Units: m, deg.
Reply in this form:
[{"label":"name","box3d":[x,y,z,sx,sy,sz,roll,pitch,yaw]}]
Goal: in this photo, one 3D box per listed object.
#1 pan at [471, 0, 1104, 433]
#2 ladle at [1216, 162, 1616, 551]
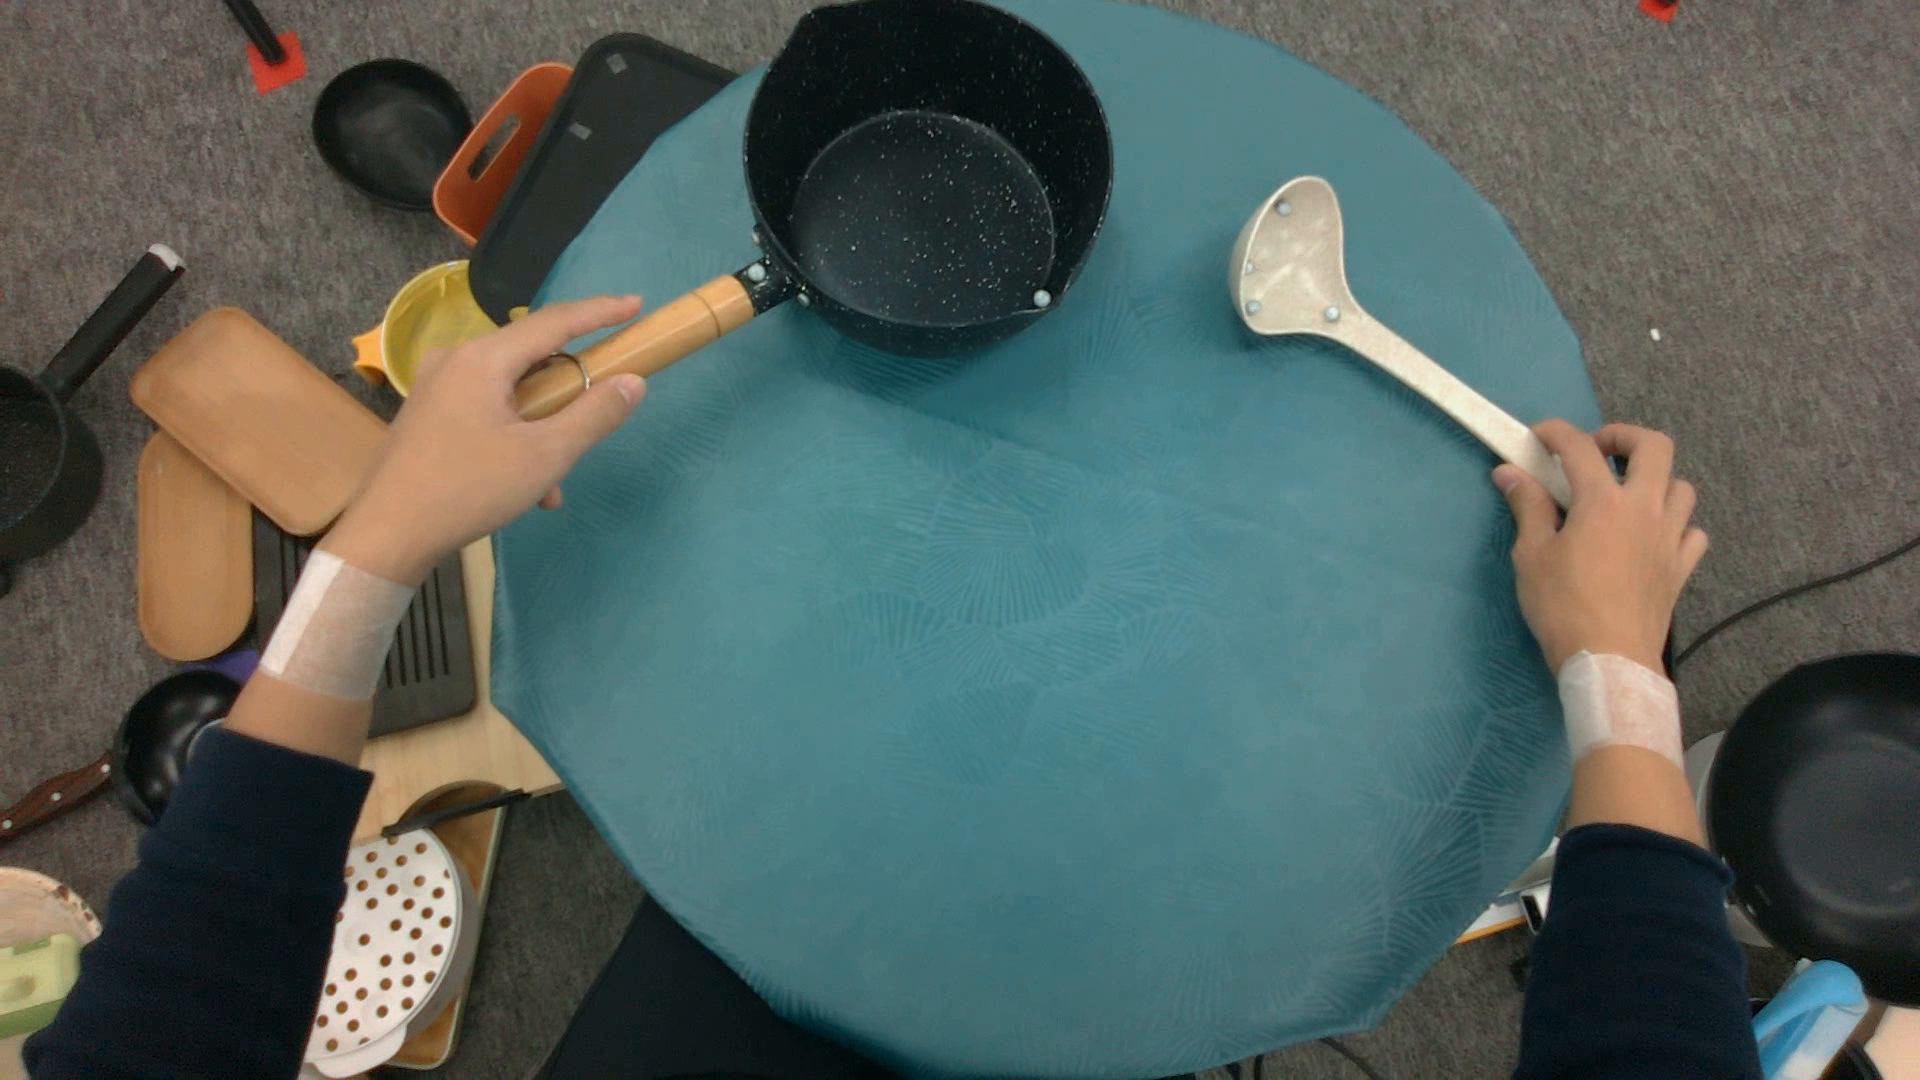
[{"label":"pan","box3d":[-0.083,-0.143,0.692,0.343,0.108,0.207,-38,83,-14]},{"label":"ladle","box3d":[0.254,-0.091,0.730,0.275,0.069,0.089,39,72,4]}]
